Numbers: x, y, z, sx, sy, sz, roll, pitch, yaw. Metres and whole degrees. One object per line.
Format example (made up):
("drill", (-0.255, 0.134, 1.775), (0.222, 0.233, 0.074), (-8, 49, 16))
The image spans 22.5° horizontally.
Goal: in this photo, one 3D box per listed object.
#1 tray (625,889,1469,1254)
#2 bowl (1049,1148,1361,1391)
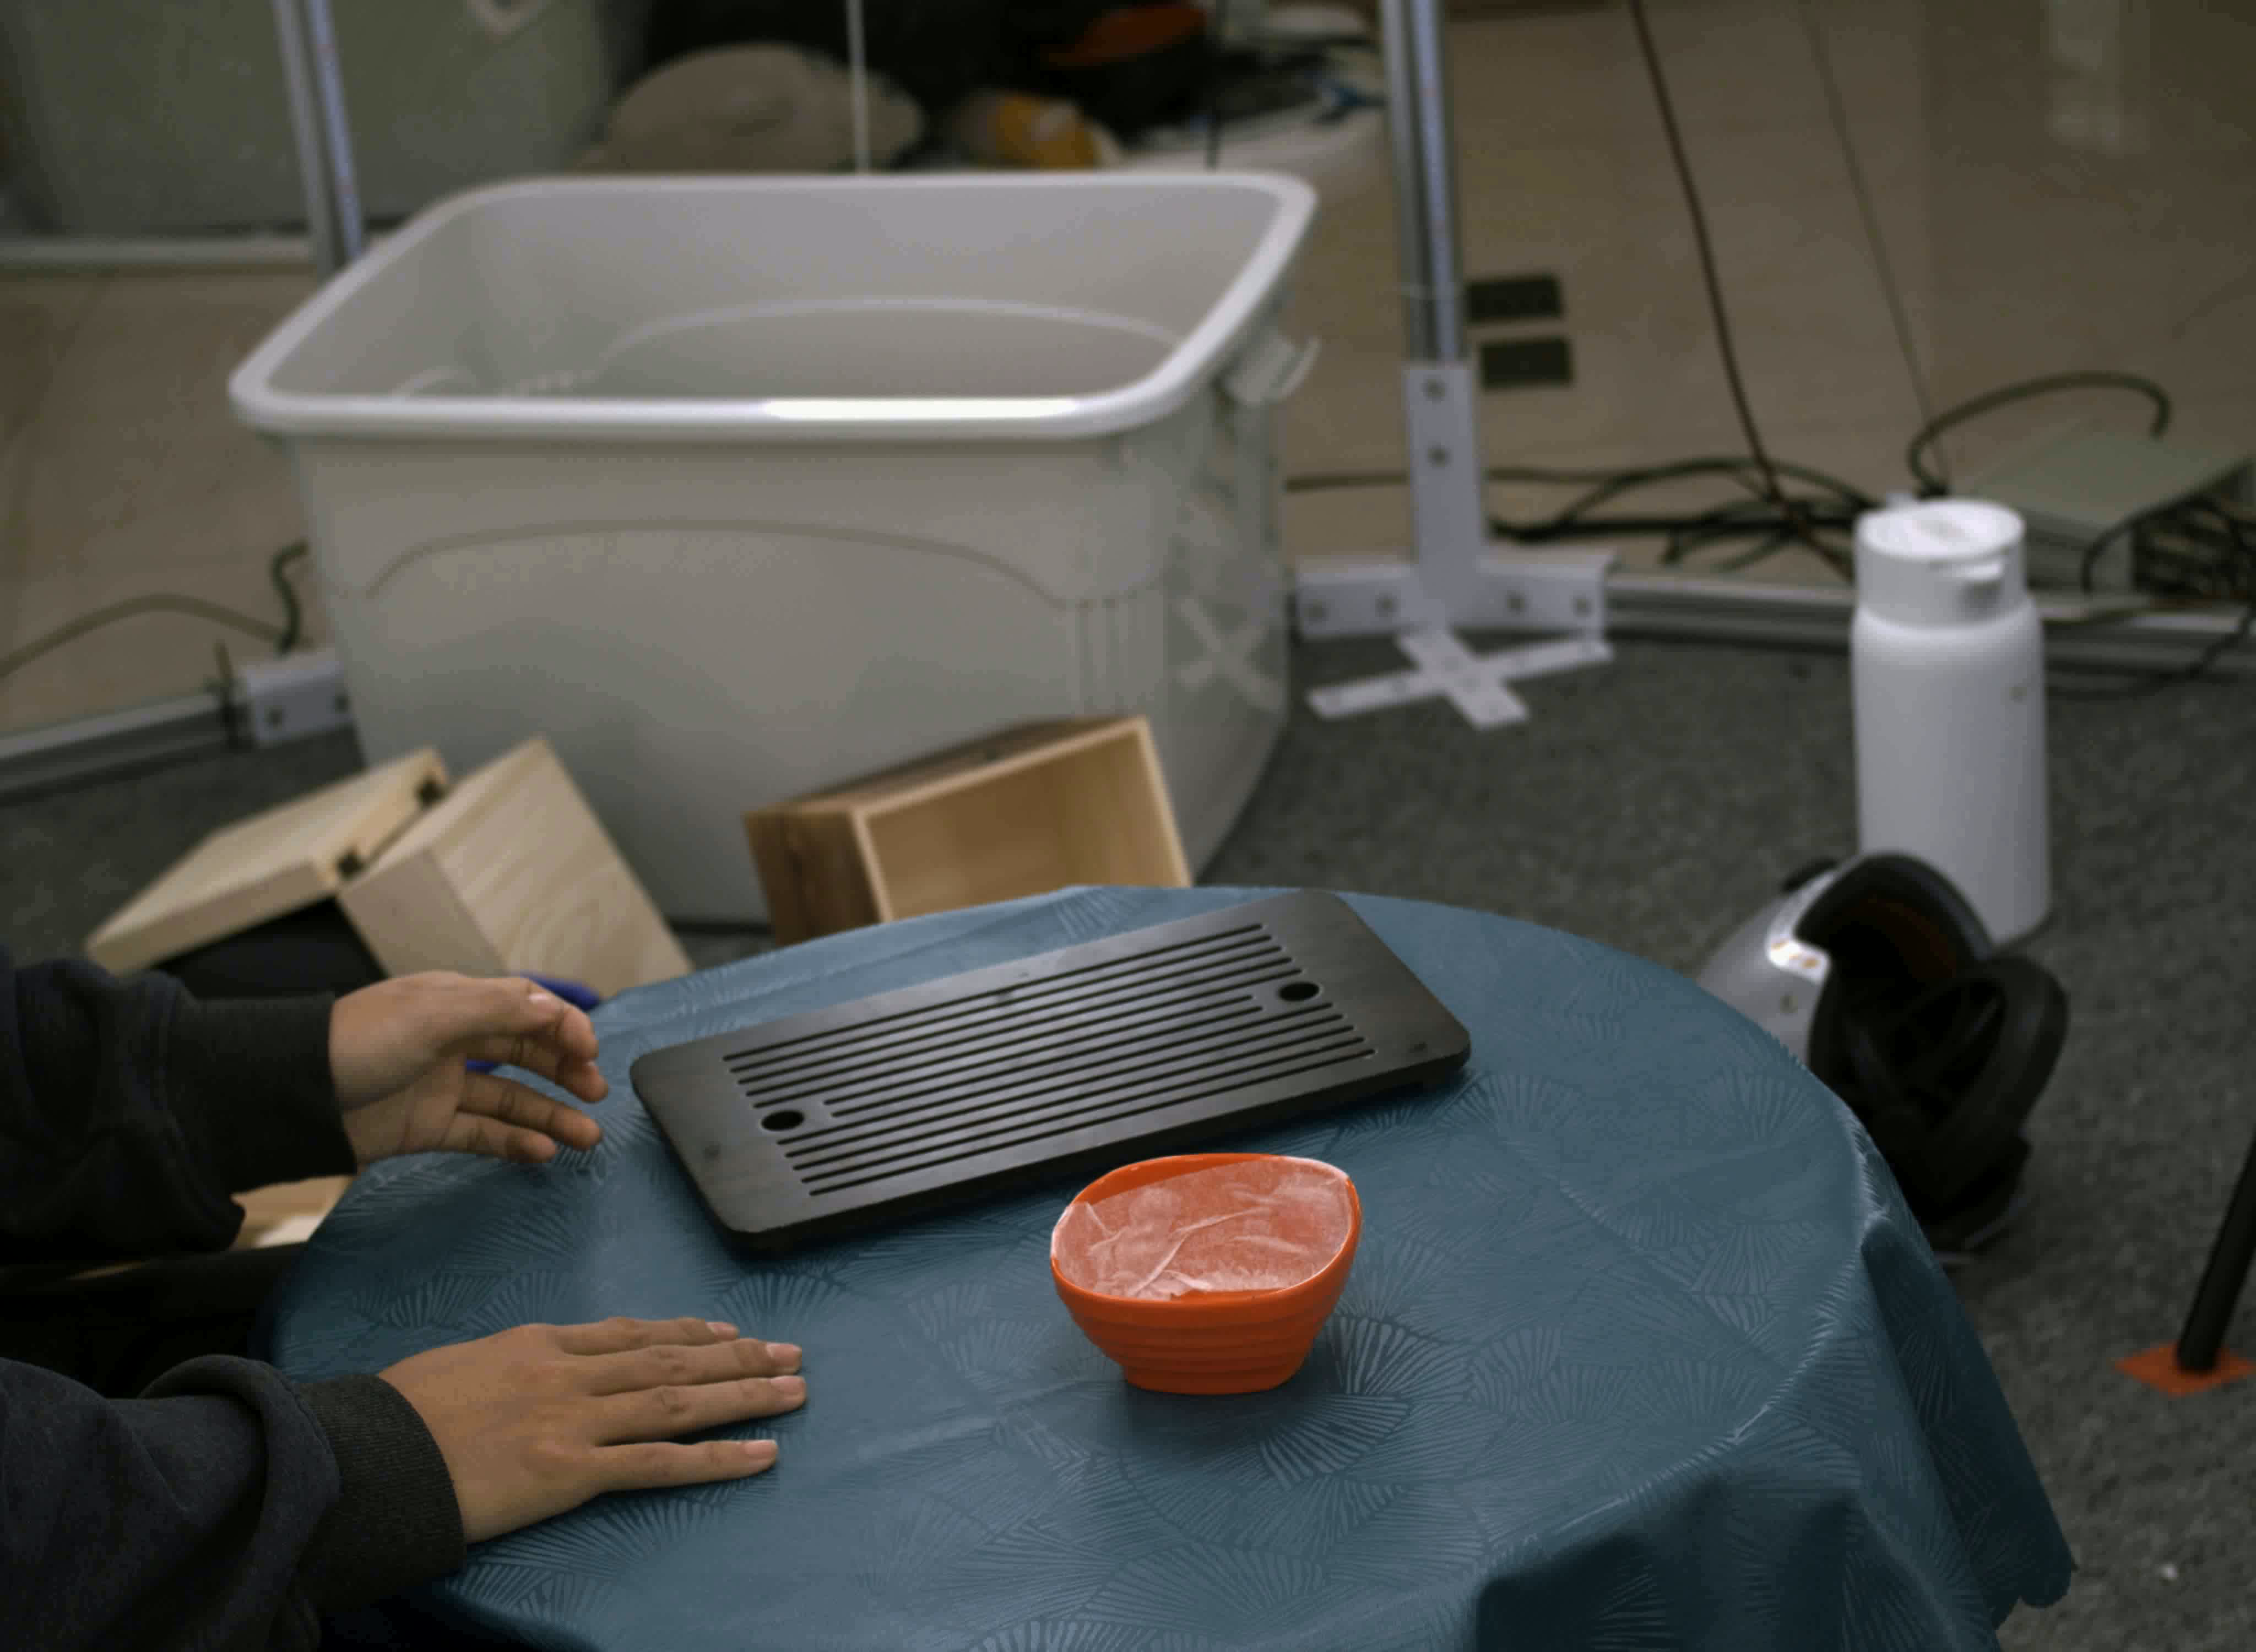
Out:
("tray", (-0.033, 0.095, 2.227), (0.305, 0.019, 0.168), (-14, 26, -14))
("bowl", (0.029, 0.162, 2.024), (0.119, 0.052, 0.117), (-5, 26, 2))
